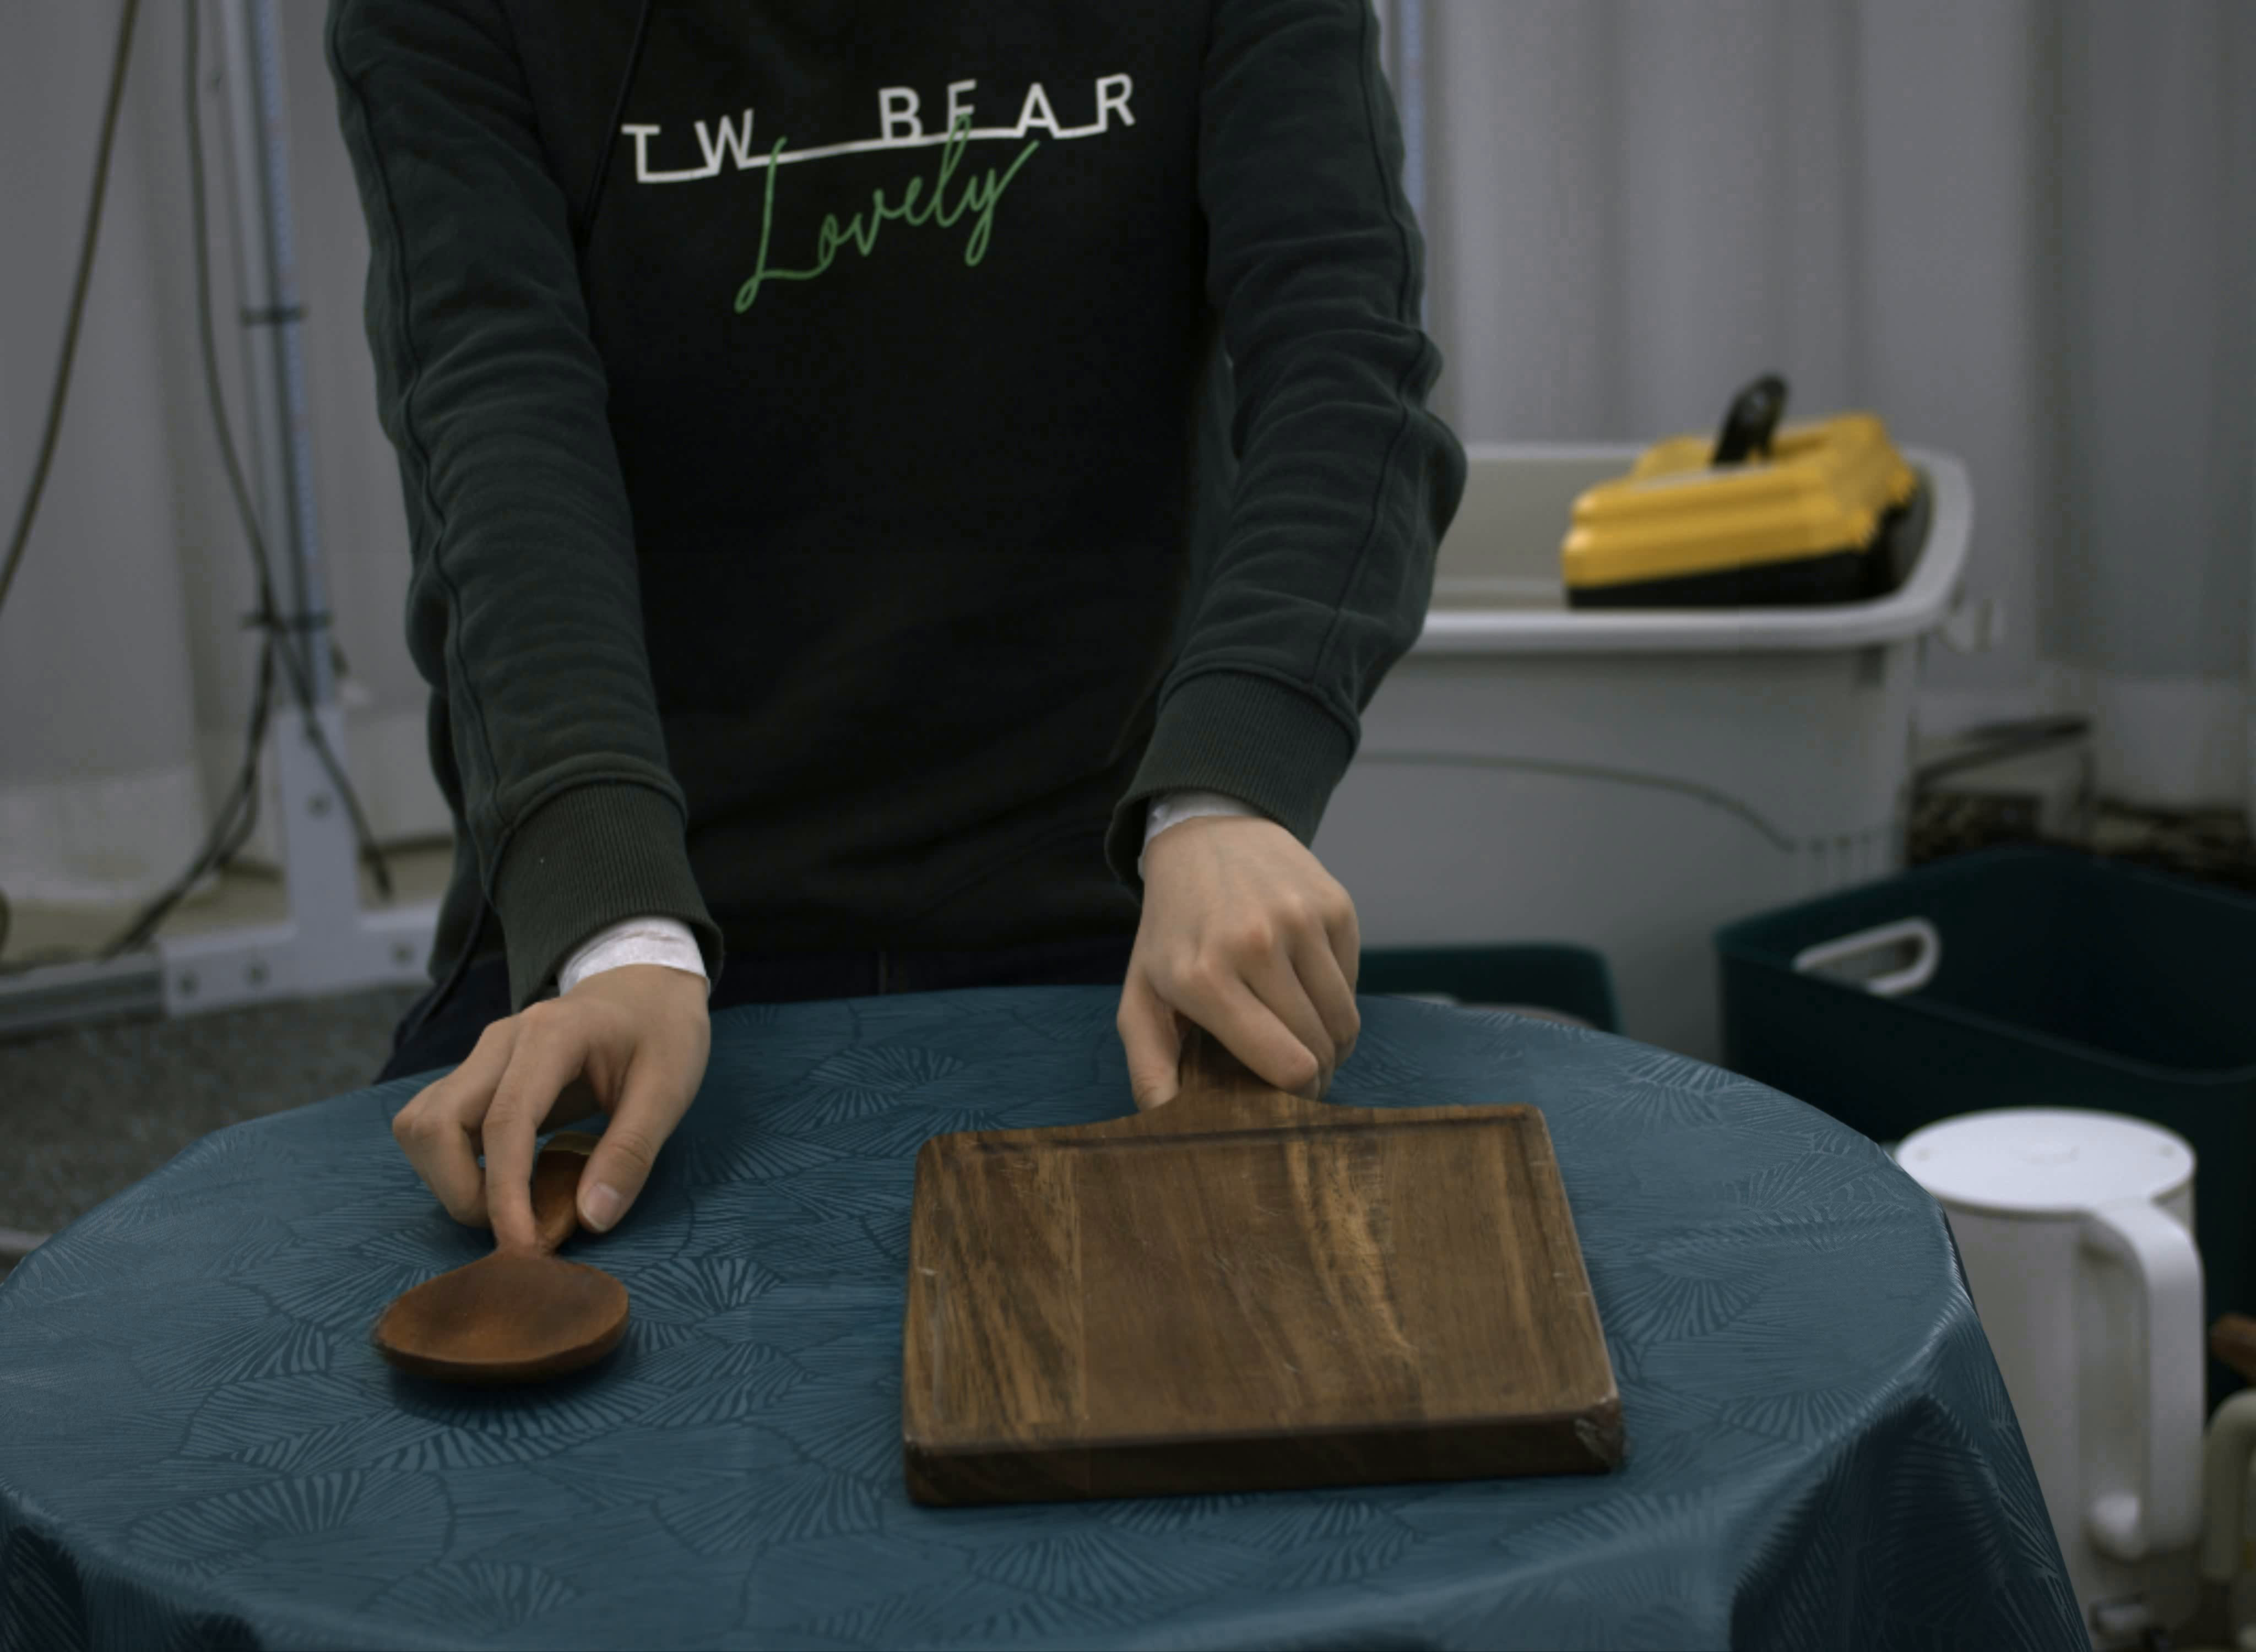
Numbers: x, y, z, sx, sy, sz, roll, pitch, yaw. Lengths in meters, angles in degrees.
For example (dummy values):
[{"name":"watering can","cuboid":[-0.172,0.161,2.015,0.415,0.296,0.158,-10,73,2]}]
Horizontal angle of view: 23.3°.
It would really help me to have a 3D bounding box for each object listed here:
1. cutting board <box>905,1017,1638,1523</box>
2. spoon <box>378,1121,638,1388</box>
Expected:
[{"name":"cutting board","cuboid":[0.034,0.122,1.629,0.200,0.023,0.355,-4,16,0]},{"name":"spoon","cuboid":[-0.178,0.131,1.654,0.075,0.017,0.217,-4,16,3]}]
